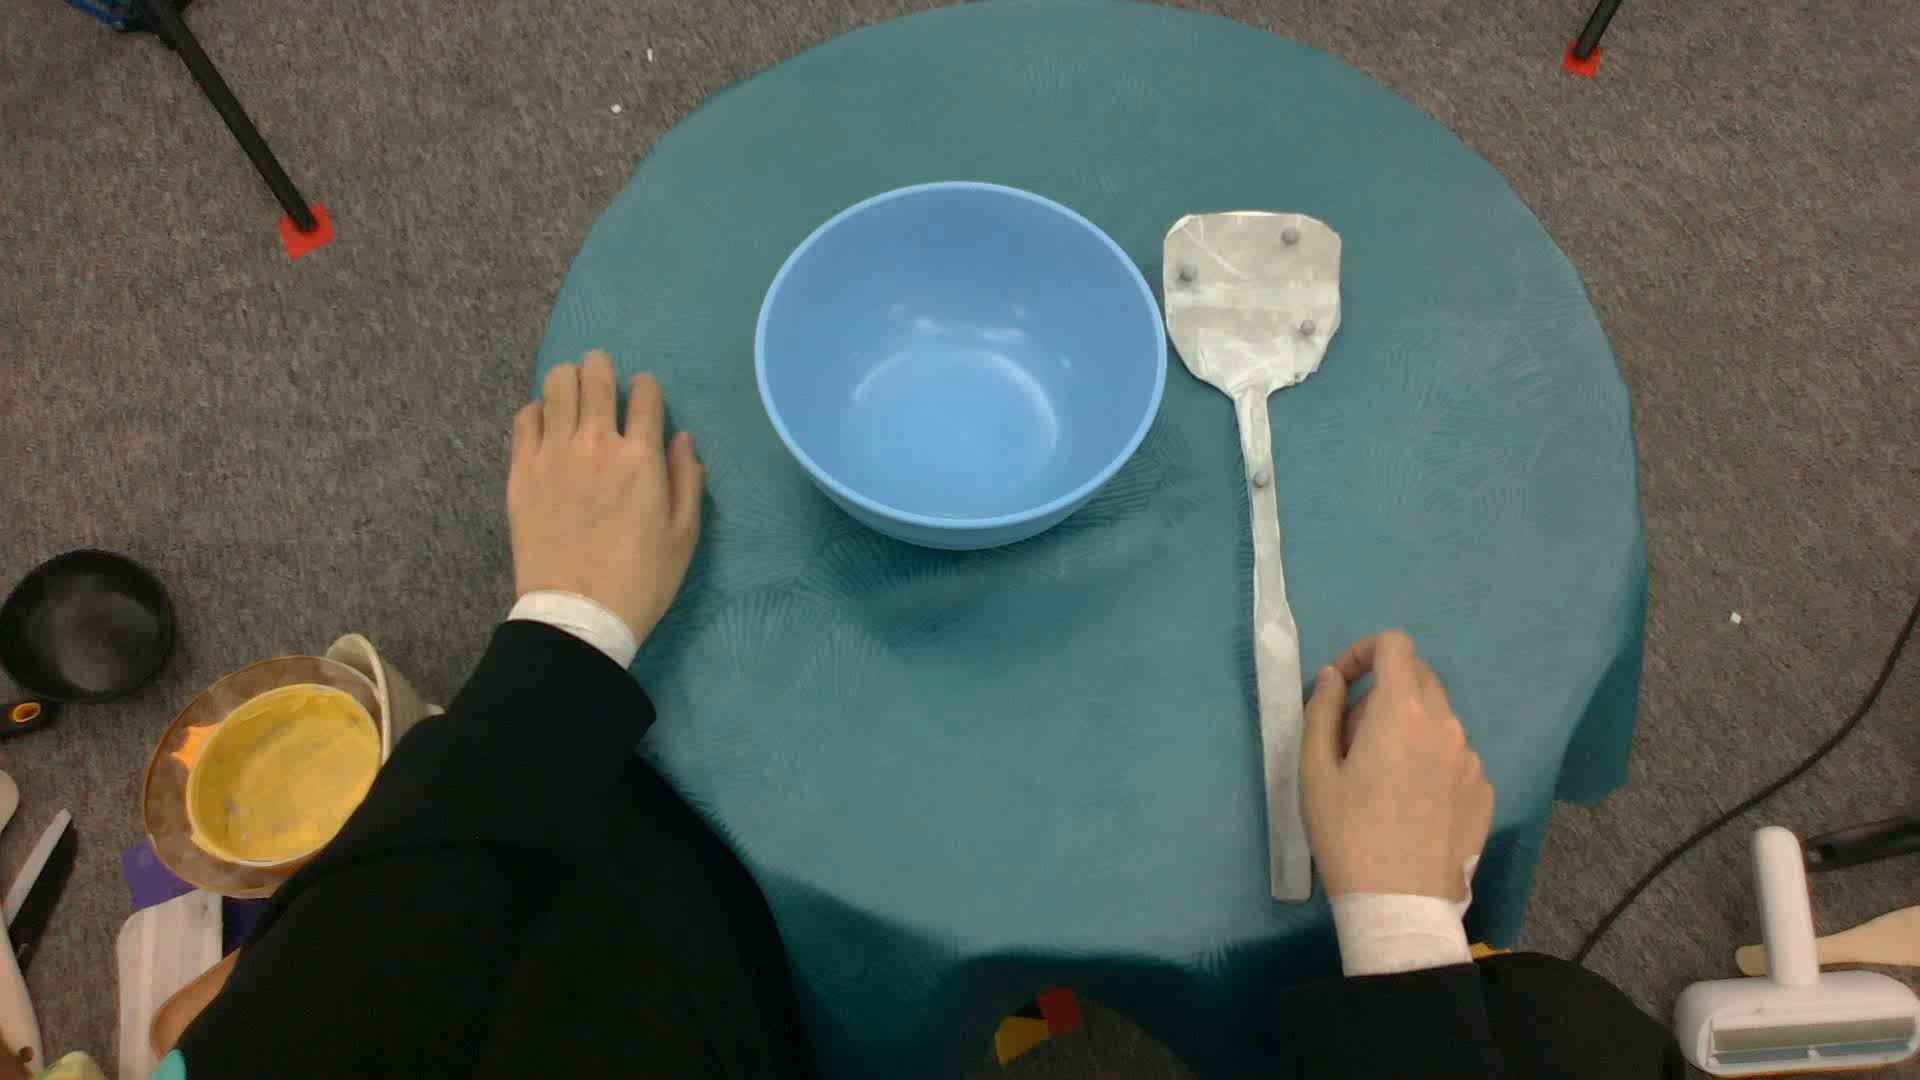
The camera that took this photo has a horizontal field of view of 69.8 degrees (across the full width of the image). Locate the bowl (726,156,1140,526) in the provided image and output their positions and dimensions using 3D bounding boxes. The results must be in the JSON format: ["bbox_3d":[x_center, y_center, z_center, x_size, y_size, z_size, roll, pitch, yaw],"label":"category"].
[{"bbox_3d":[-0.015,-0.086,0.694,0.196,0.095,0.197,2,64,-4],"label":"bowl"}]

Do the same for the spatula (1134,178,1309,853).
[{"bbox_3d":[0.139,-0.026,0.704,0.099,0.044,0.366,4,64,-4],"label":"spatula"}]
